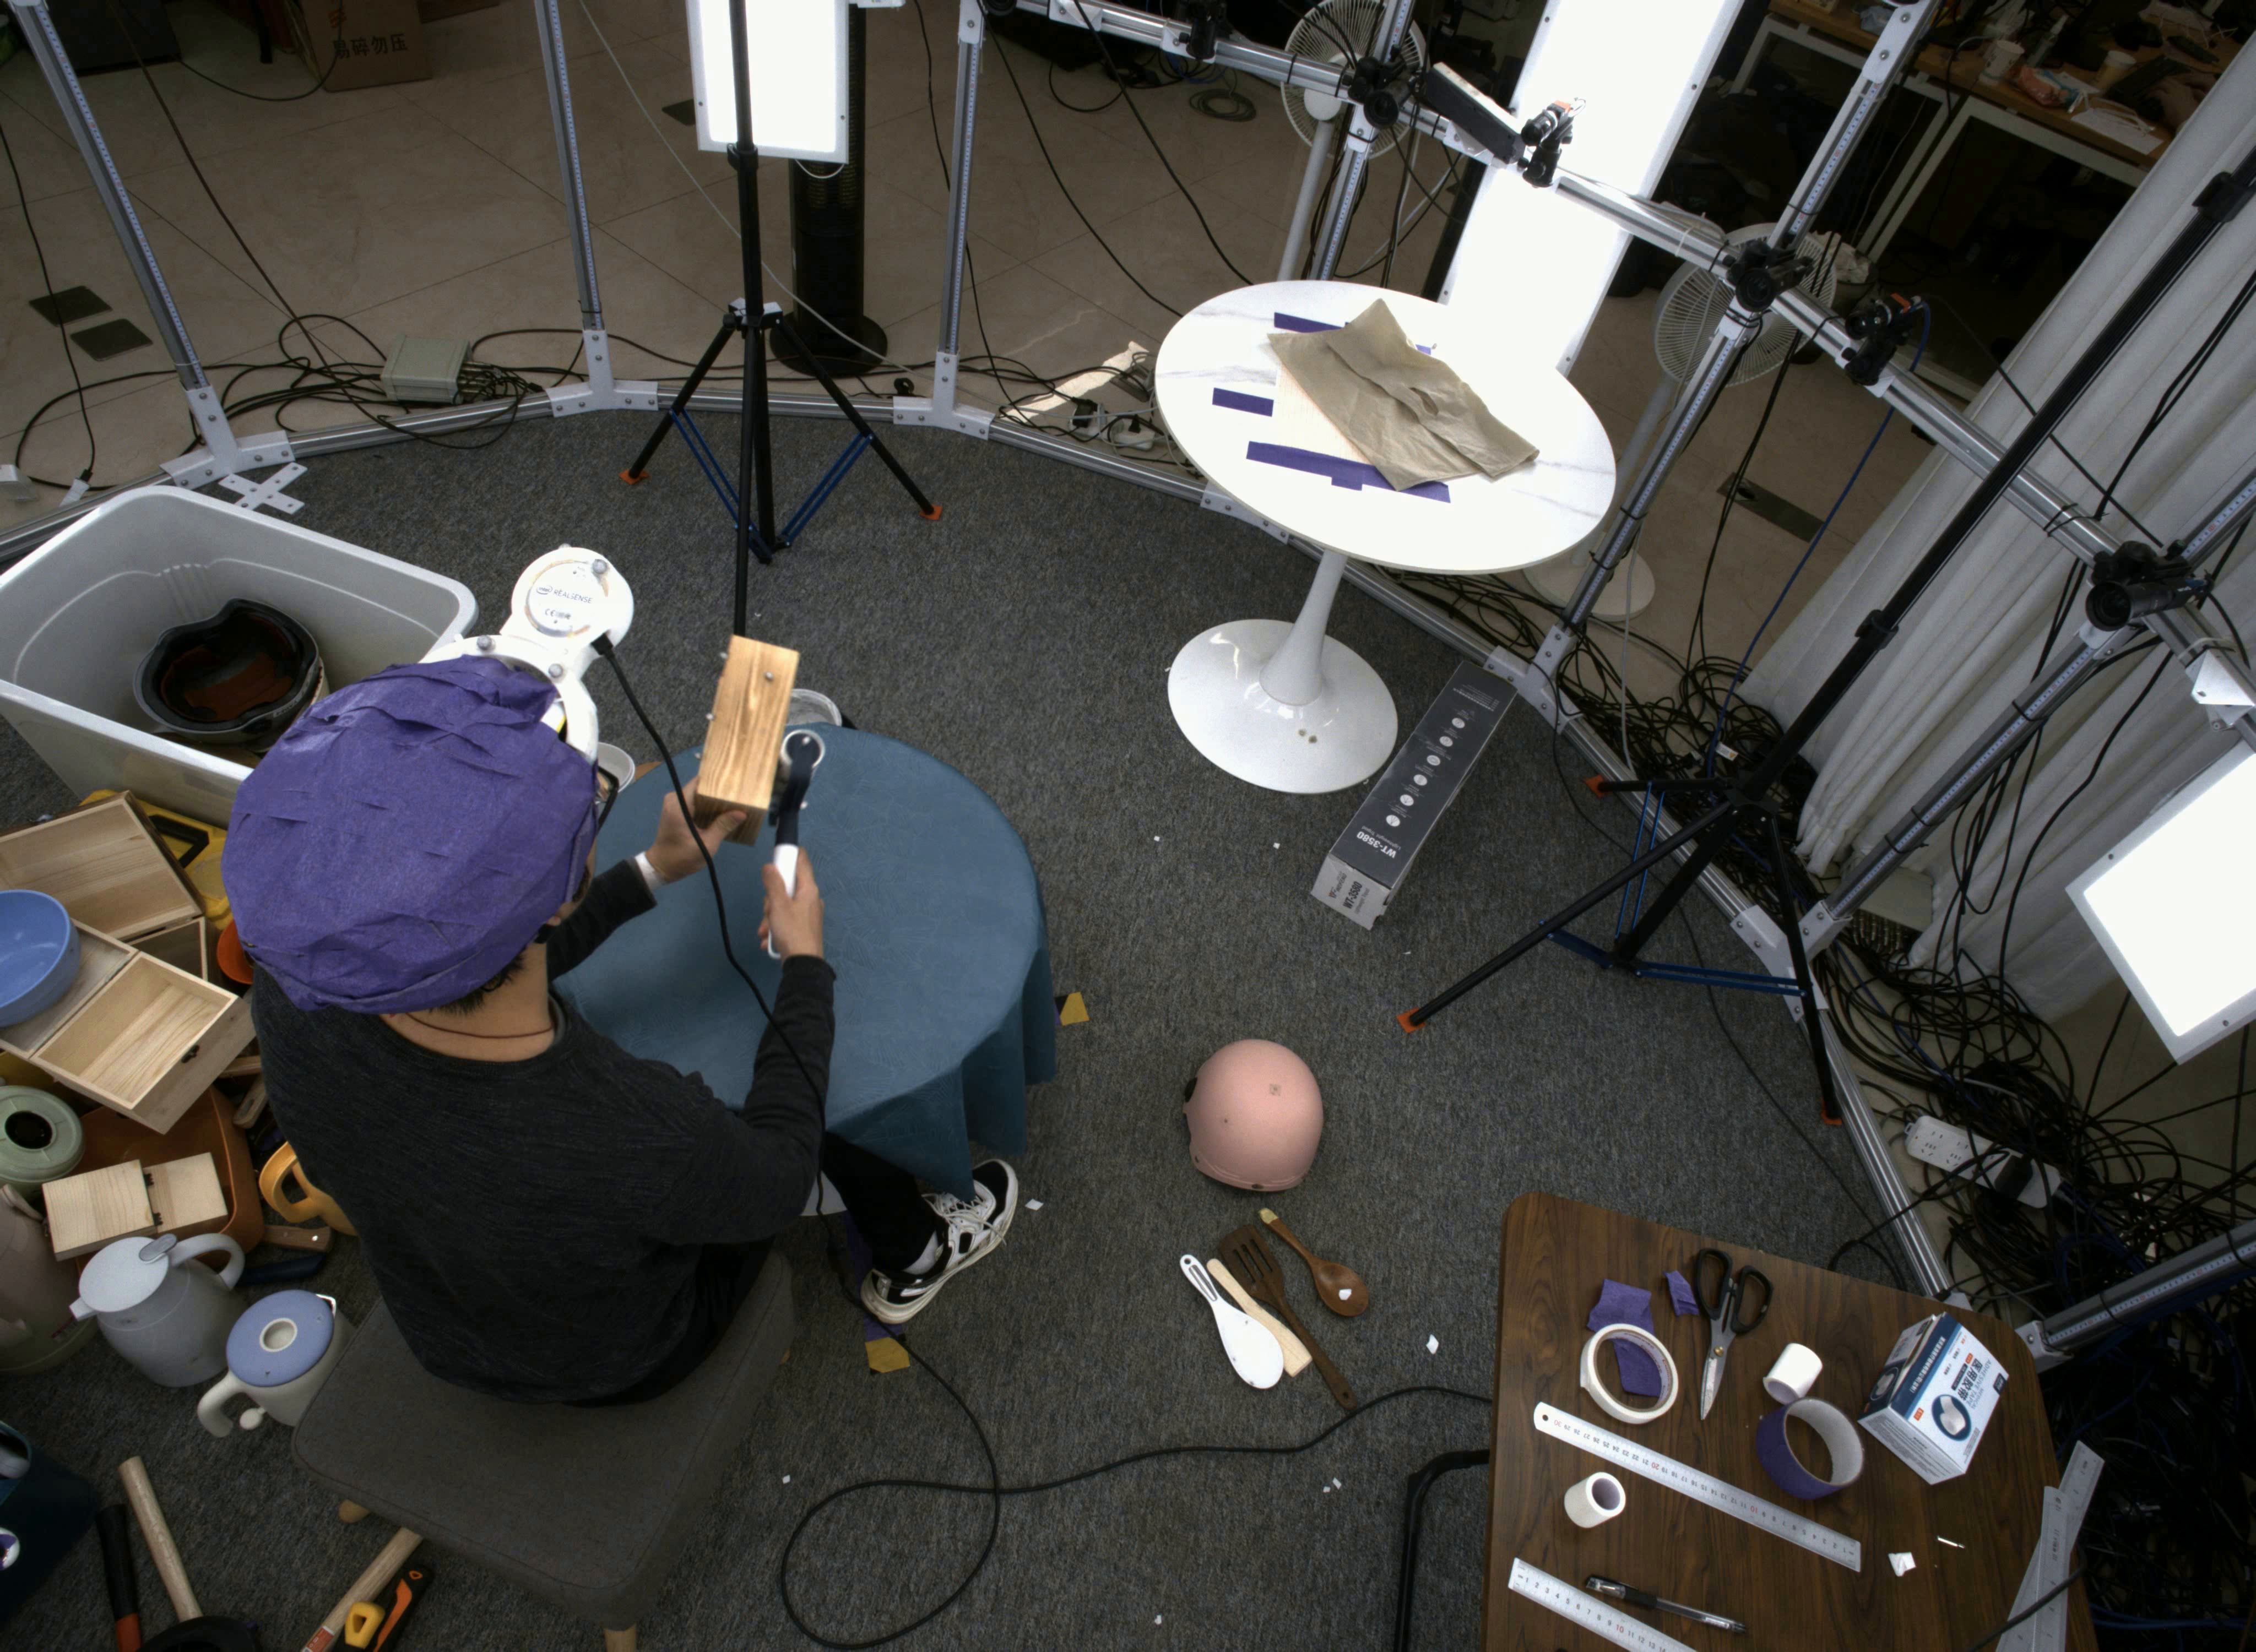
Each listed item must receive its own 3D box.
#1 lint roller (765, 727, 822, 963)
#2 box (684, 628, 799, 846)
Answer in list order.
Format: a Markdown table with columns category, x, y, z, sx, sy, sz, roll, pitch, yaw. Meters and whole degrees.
| category | x | y | z | sx | sy | sz | roll | pitch | yaw |
| --- | --- | --- | --- | --- | --- | --- | --- | --- | --- |
| lint roller | -0.386 | 0.033 | 1.483 | 0.051 | 0.175 | 0.246 | 1 | 71 | -22 |
| box | -0.445 | -0.102 | 1.486 | 0.081 | 0.107 | 0.209 | 14 | 61 | -20 |
